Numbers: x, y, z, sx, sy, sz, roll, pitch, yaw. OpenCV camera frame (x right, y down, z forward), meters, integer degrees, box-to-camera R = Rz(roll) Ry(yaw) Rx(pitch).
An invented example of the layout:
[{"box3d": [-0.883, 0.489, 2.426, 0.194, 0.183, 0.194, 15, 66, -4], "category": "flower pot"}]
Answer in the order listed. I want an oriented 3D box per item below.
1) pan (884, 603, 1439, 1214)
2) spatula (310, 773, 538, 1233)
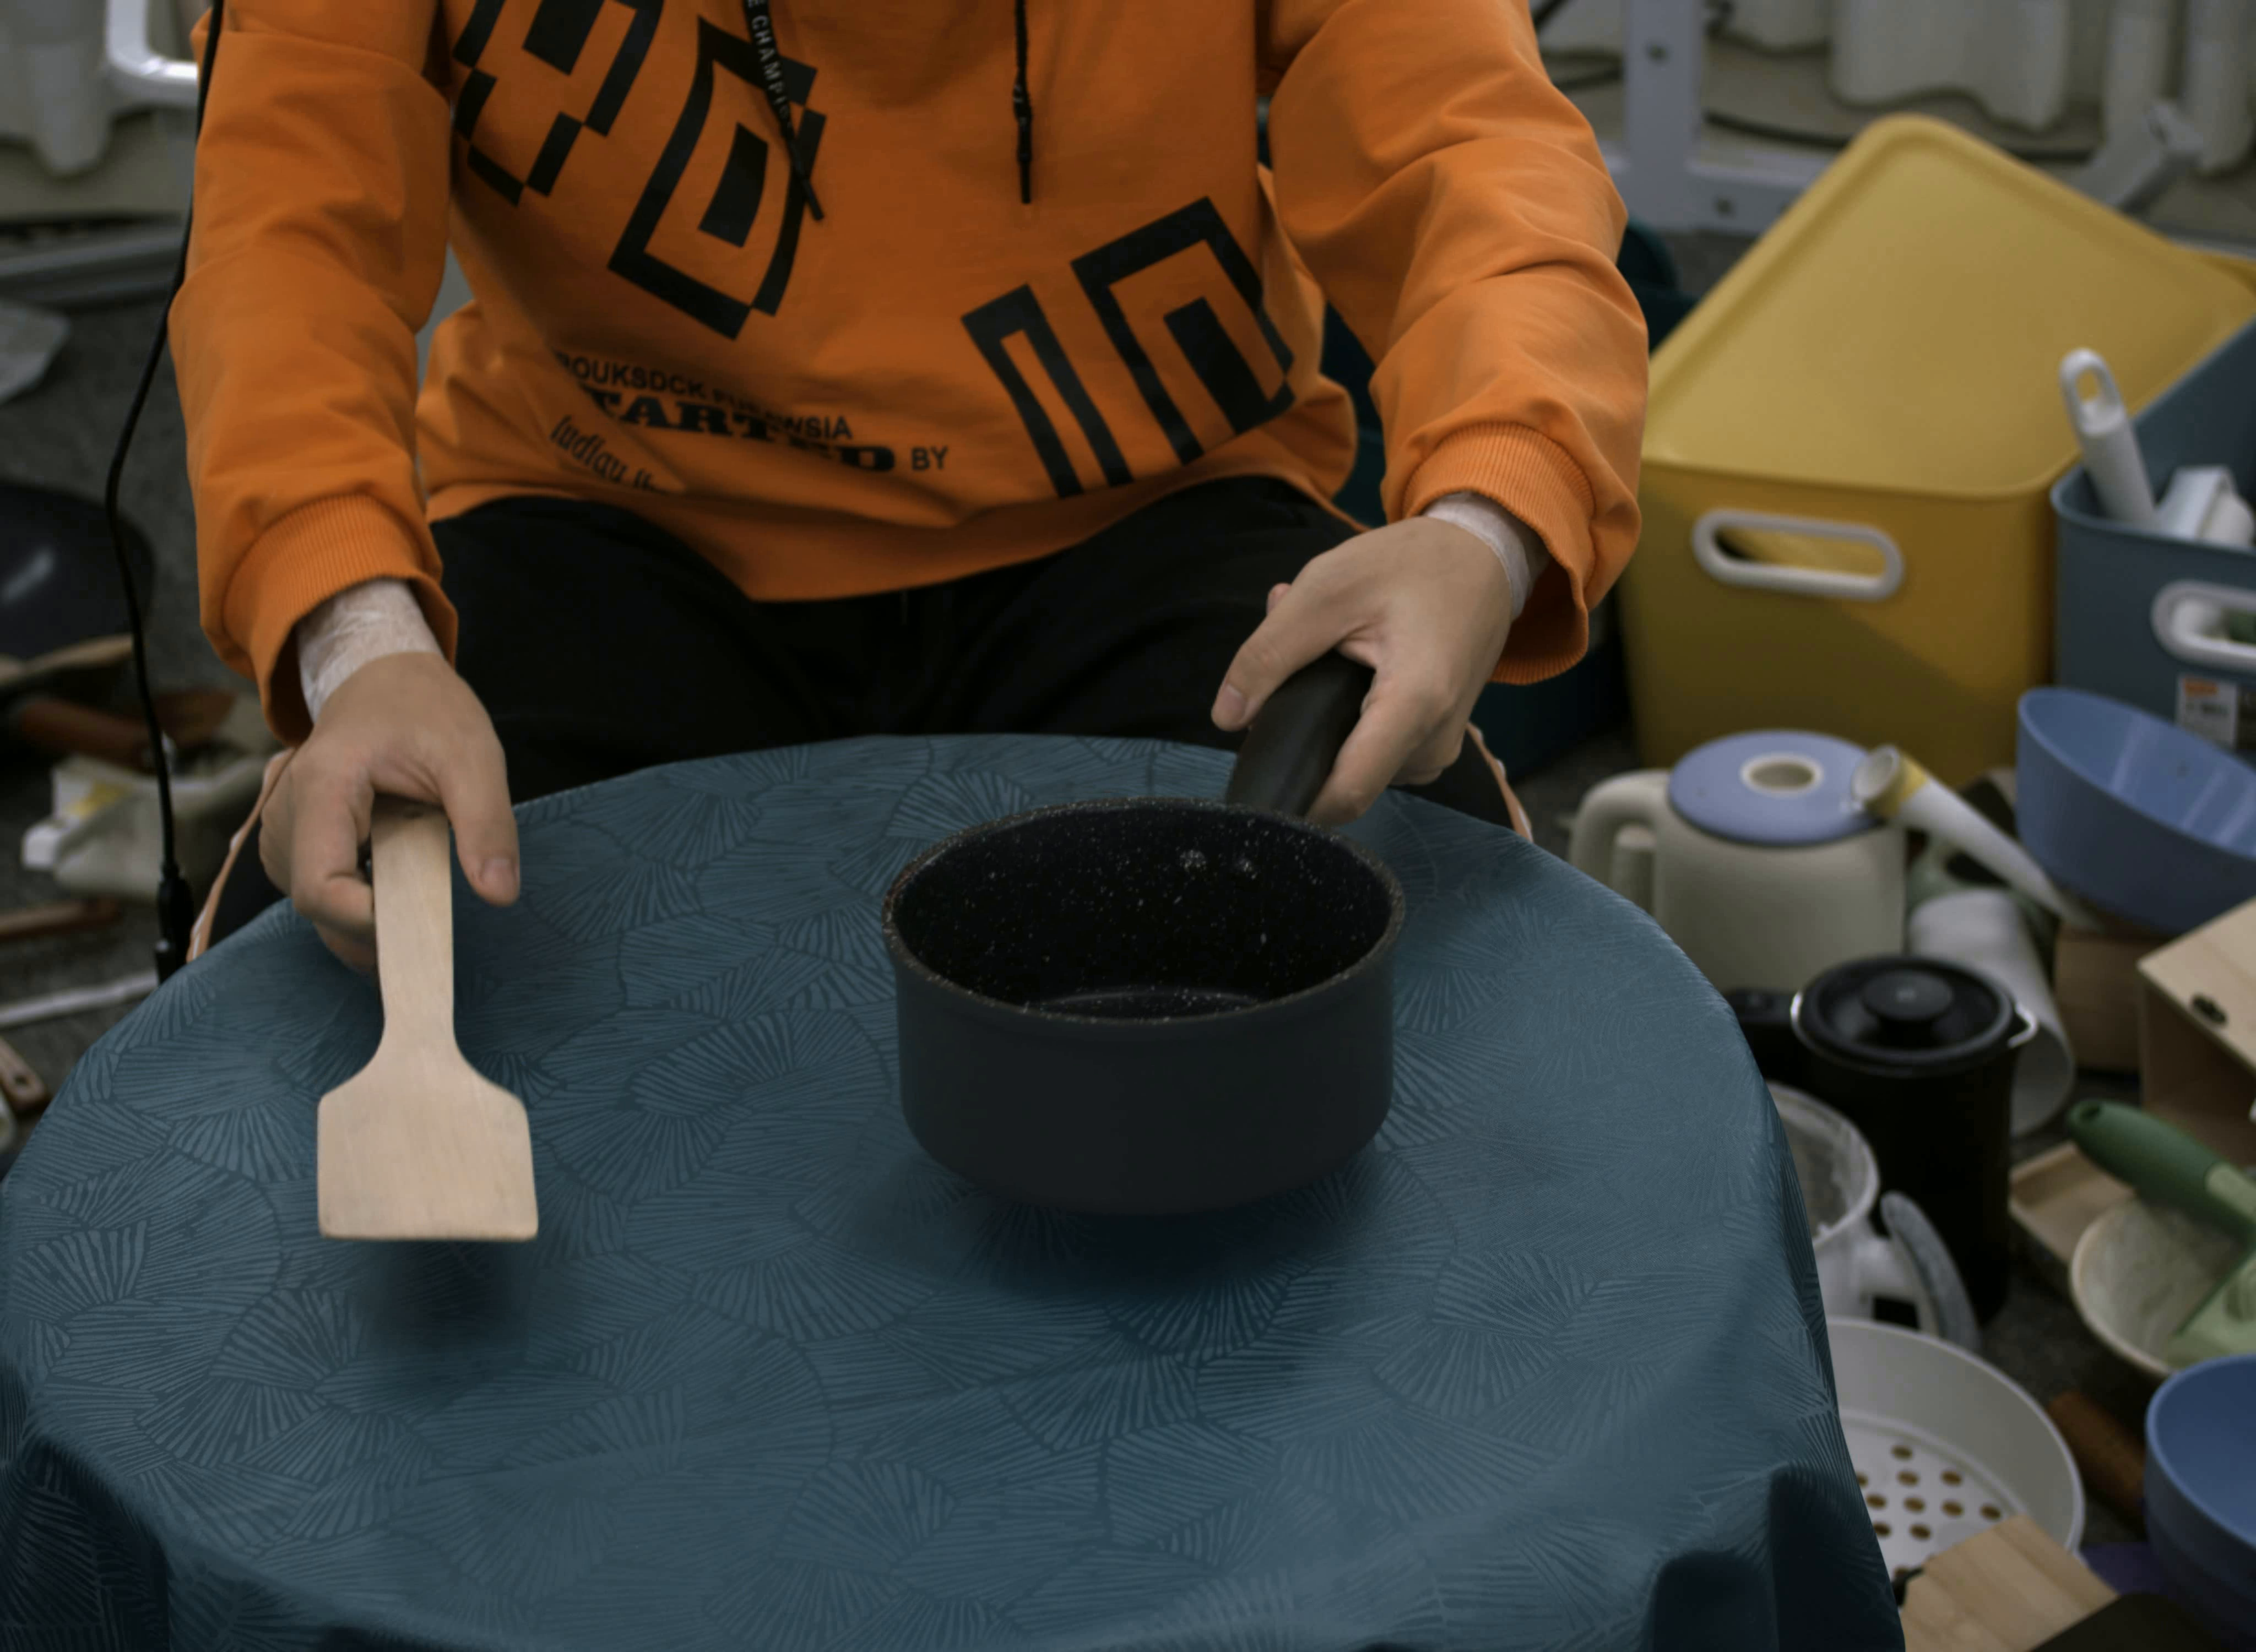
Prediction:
[{"box3d": [0.035, 0.024, 1.910, 0.171, 0.085, 0.334, 9, 27, 20], "category": "pan"}, {"box3d": [-0.241, 0.057, 1.903, 0.072, 0.010, 0.297, -1, 30, -8], "category": "spatula"}]
